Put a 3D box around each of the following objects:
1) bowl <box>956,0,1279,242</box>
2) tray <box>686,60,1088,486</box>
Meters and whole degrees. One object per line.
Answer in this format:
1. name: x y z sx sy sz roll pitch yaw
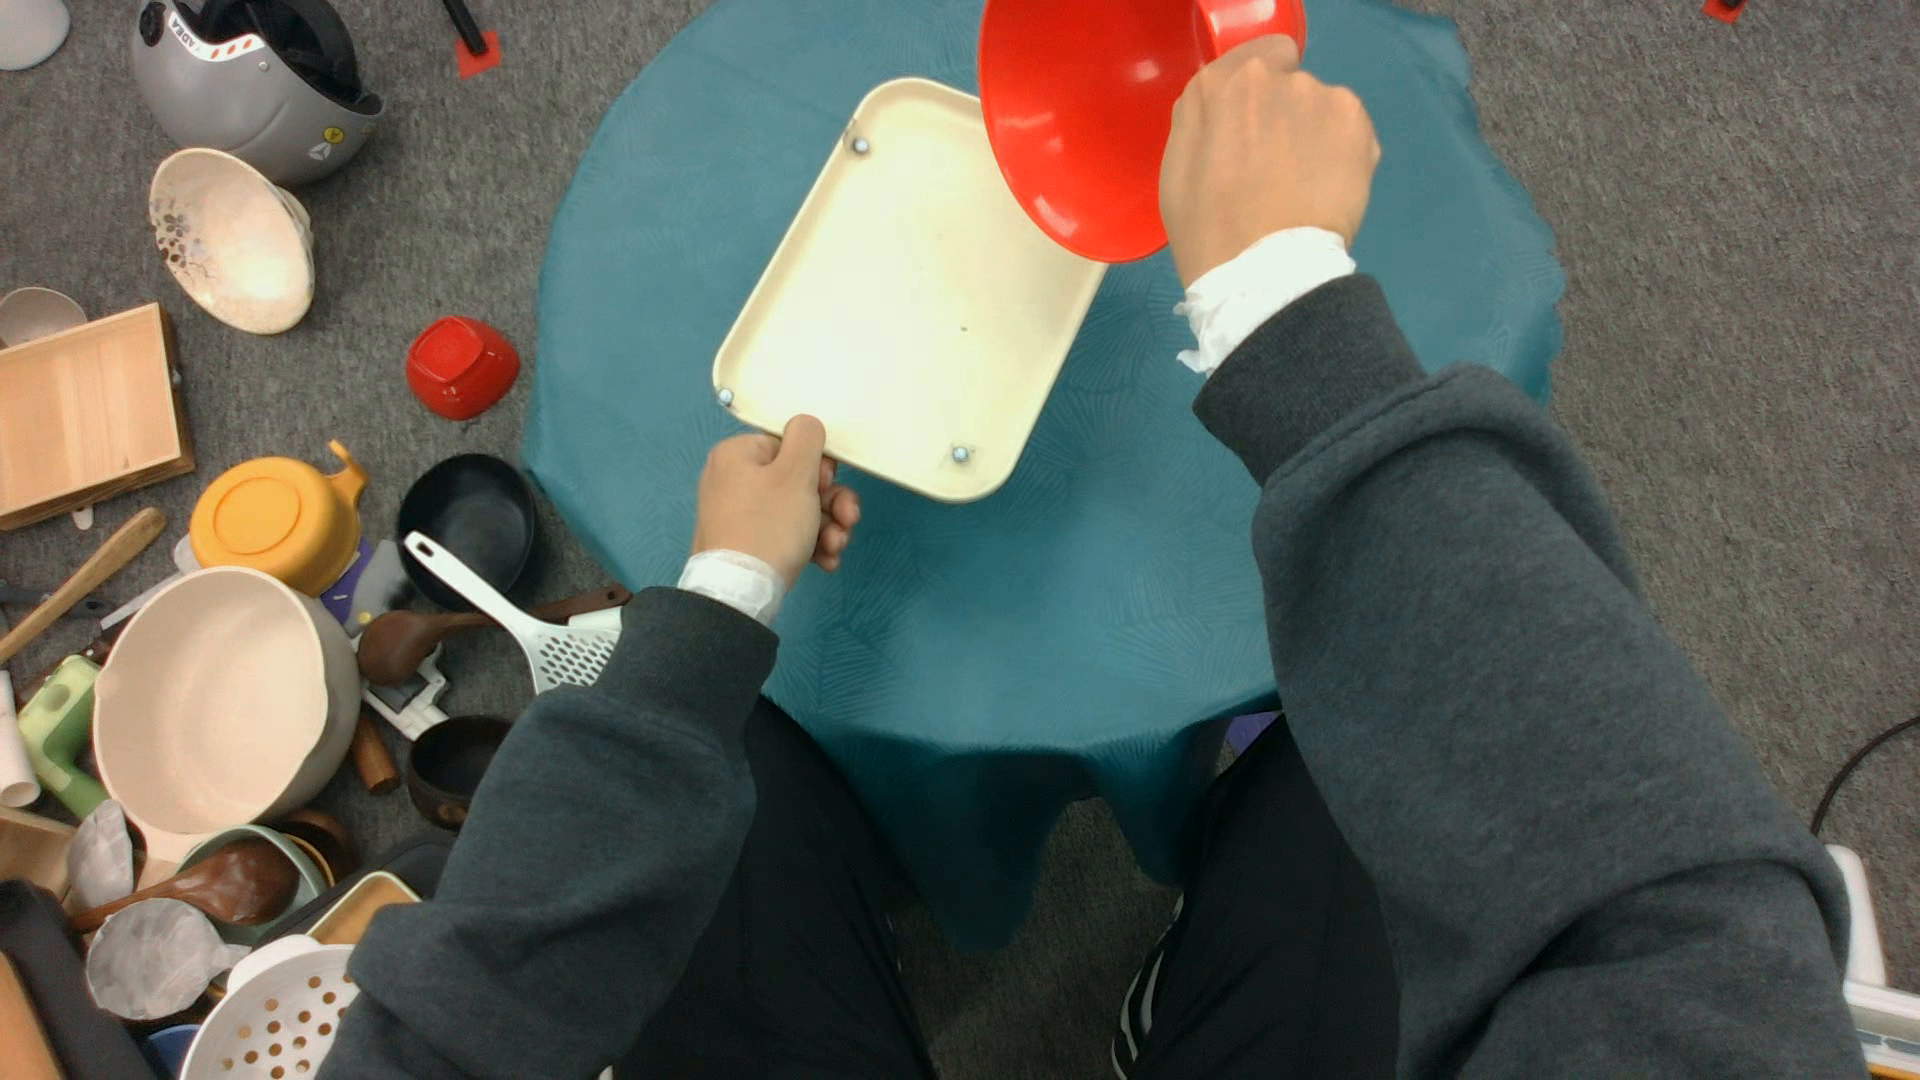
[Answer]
1. bowl: 0.079 -0.223 0.630 0.105 0.147 0.148 -28 70 -24
2. tray: -0.029 -0.150 0.749 0.171 0.017 0.240 22 69 7
